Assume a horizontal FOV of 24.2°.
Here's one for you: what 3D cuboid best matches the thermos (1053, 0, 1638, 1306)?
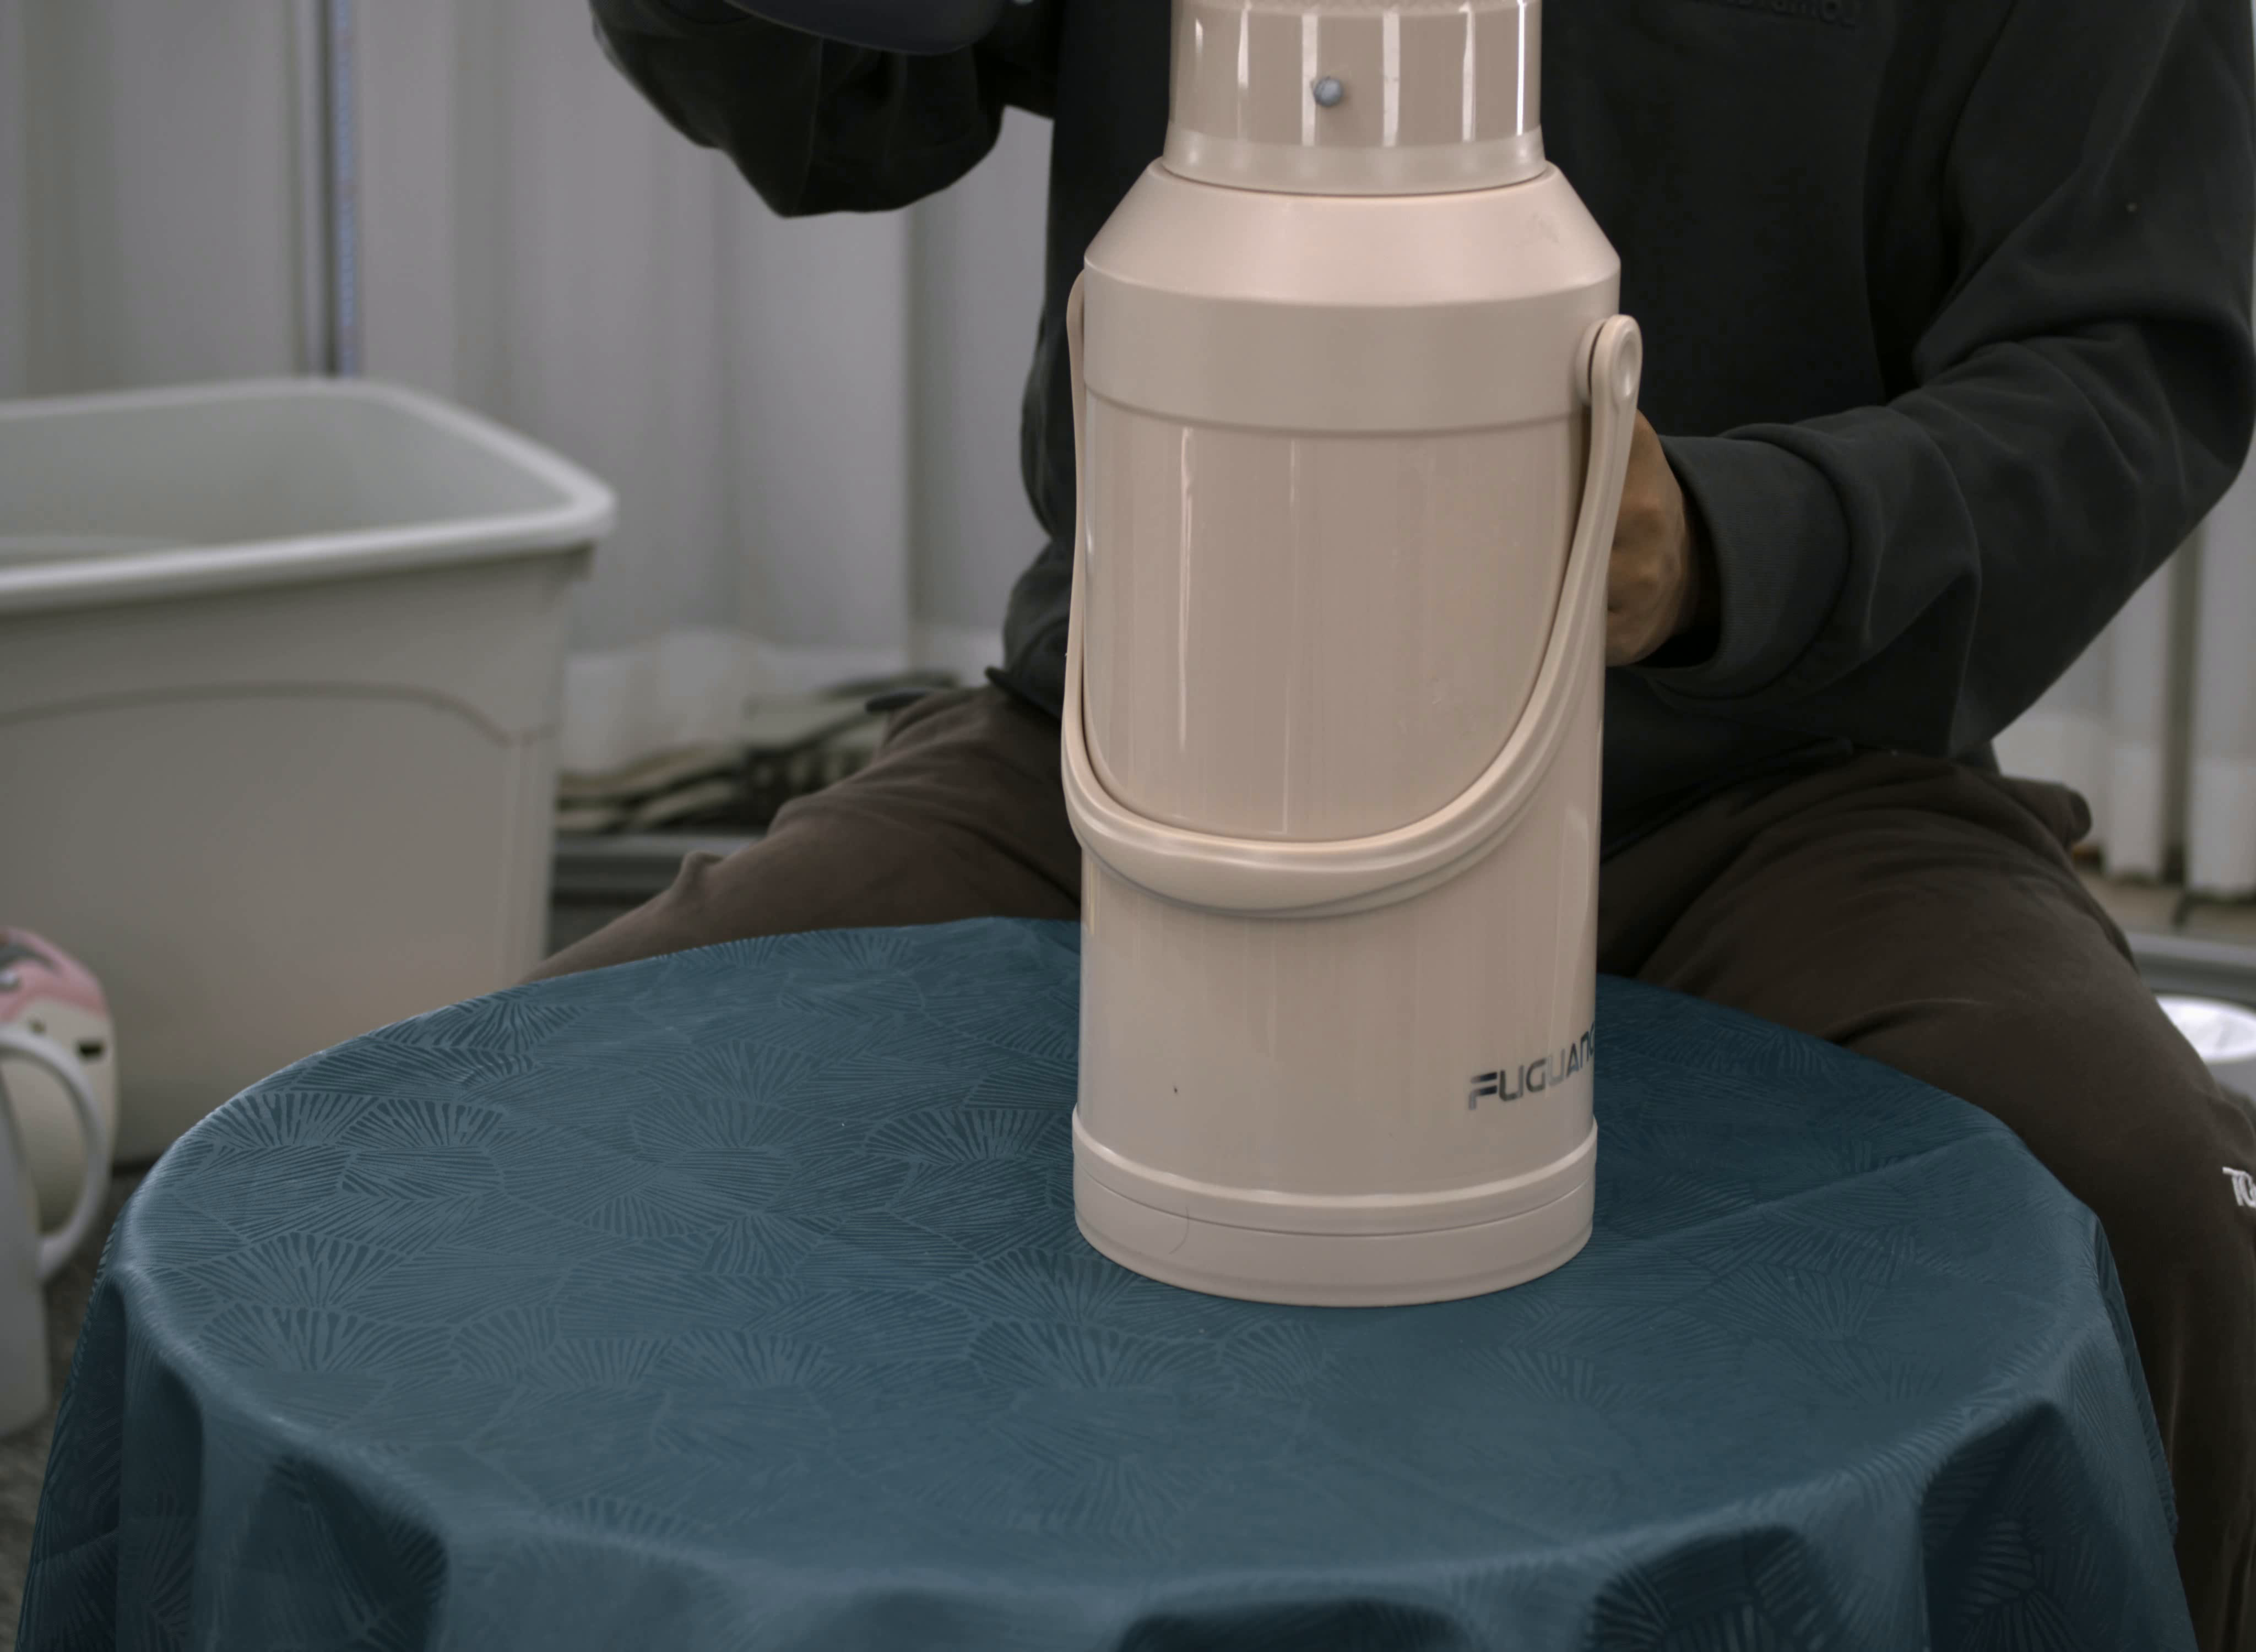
[{"bbox_3d":[0.070,-0.076,1.562,0.173,0.410,0.207,8,18,26],"label":"thermos"}]

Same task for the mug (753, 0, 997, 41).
[{"bbox_3d":[-0.078,-0.281,1.497,0.094,0.090,0.122,9,19,-19],"label":"mug"}]
